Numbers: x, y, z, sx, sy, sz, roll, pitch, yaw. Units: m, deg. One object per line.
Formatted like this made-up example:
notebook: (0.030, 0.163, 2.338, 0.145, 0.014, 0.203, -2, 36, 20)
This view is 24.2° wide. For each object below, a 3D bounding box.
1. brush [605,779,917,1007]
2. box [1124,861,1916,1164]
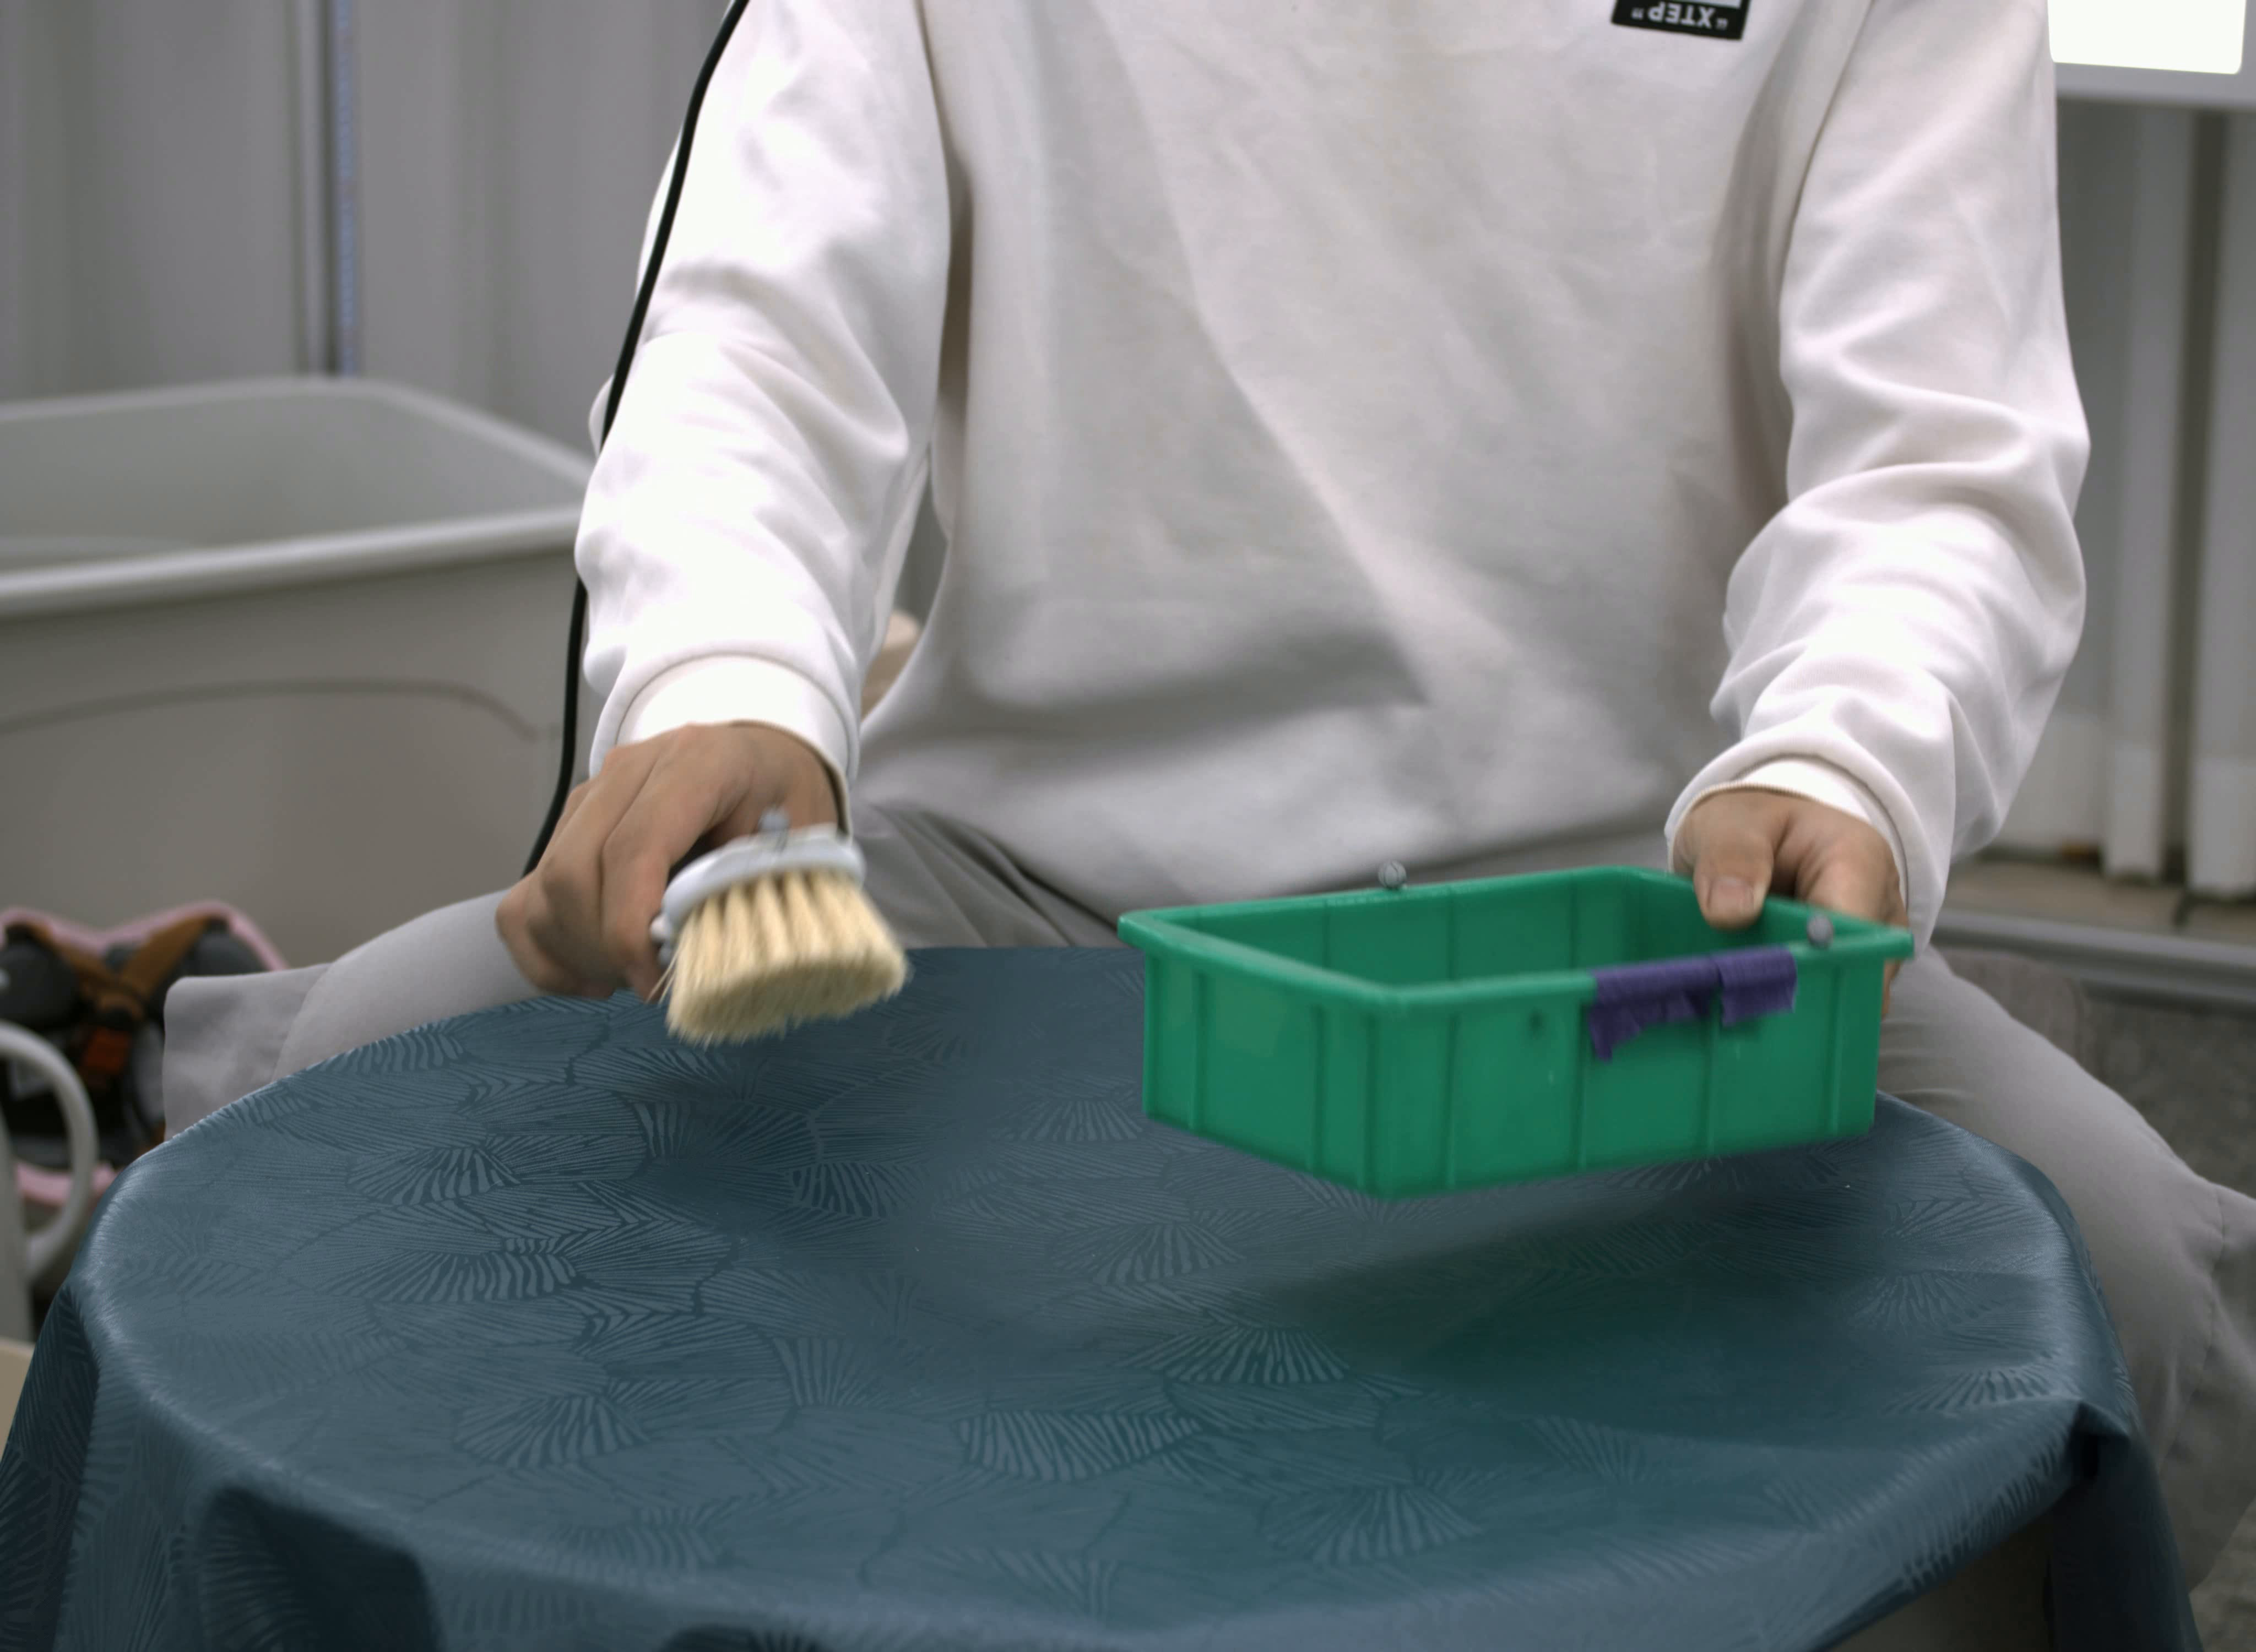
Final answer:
brush: (-0.122, 0.039, 1.605, 0.069, 0.056, 0.266, 5, -12, -16)
box: (0.113, 0.053, 1.539, 0.212, 0.065, 0.137, -2, 10, -36)
